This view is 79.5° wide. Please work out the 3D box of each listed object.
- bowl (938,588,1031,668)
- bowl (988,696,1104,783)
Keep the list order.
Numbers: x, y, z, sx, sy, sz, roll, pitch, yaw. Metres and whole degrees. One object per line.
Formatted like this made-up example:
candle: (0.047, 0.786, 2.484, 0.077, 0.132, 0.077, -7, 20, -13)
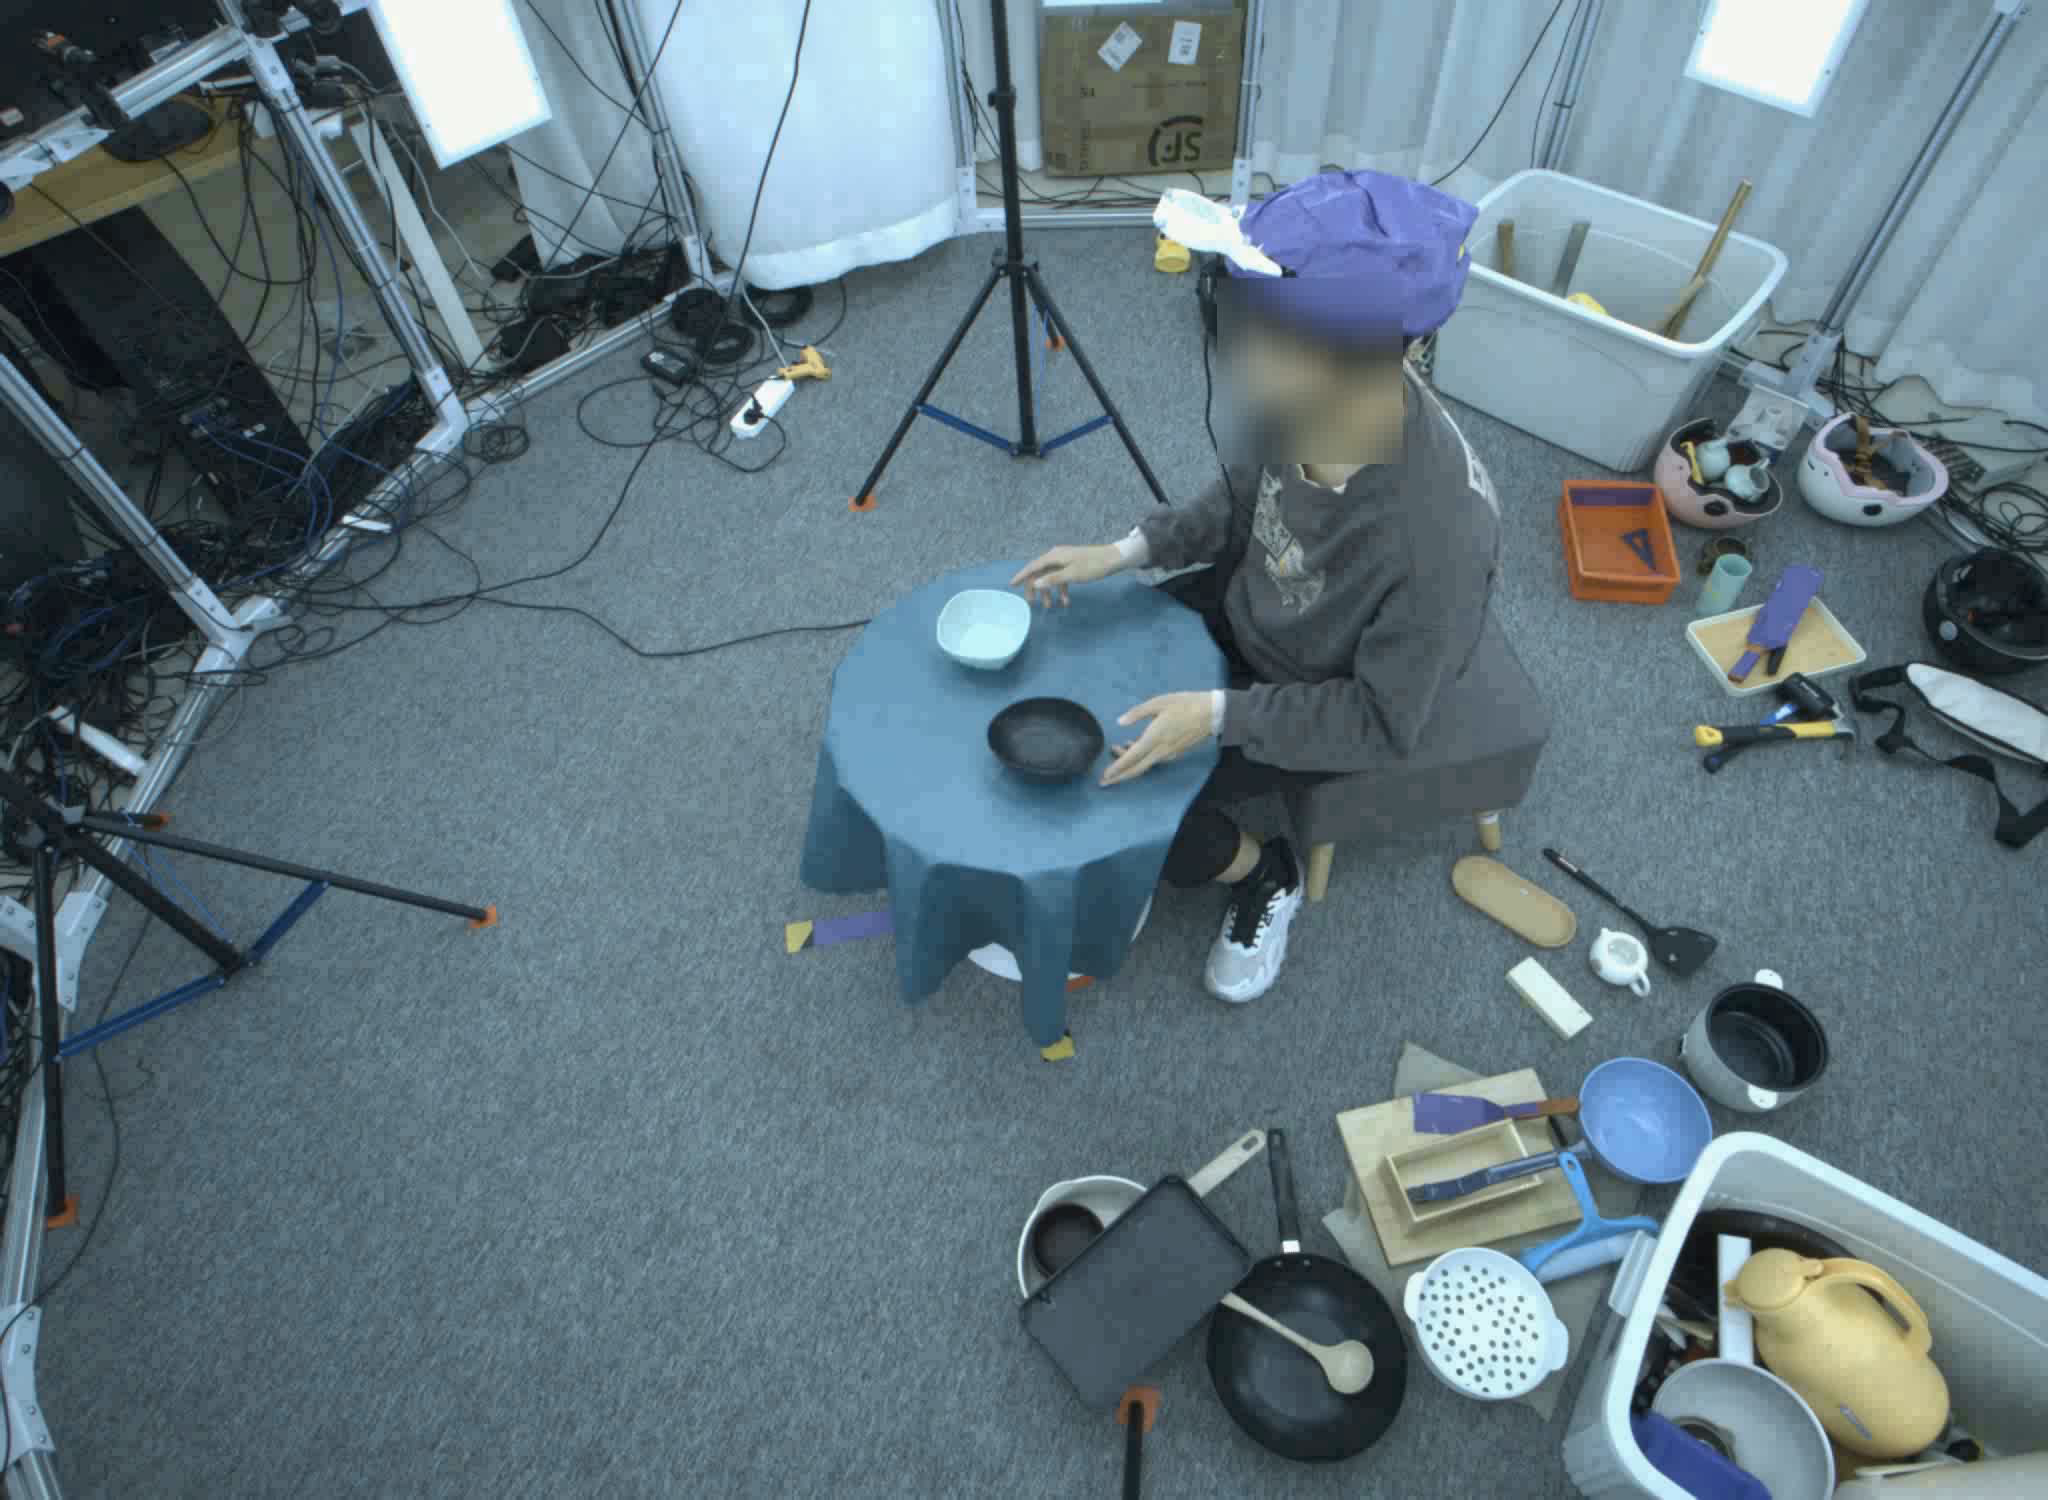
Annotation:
bowl: (-0.058, -0.176, 1.878, 0.151, 0.059, 0.150, -1, 56, 3)
bowl: (0.031, -0.004, 1.748, 0.169, 0.067, 0.137, 12, 55, 13)
